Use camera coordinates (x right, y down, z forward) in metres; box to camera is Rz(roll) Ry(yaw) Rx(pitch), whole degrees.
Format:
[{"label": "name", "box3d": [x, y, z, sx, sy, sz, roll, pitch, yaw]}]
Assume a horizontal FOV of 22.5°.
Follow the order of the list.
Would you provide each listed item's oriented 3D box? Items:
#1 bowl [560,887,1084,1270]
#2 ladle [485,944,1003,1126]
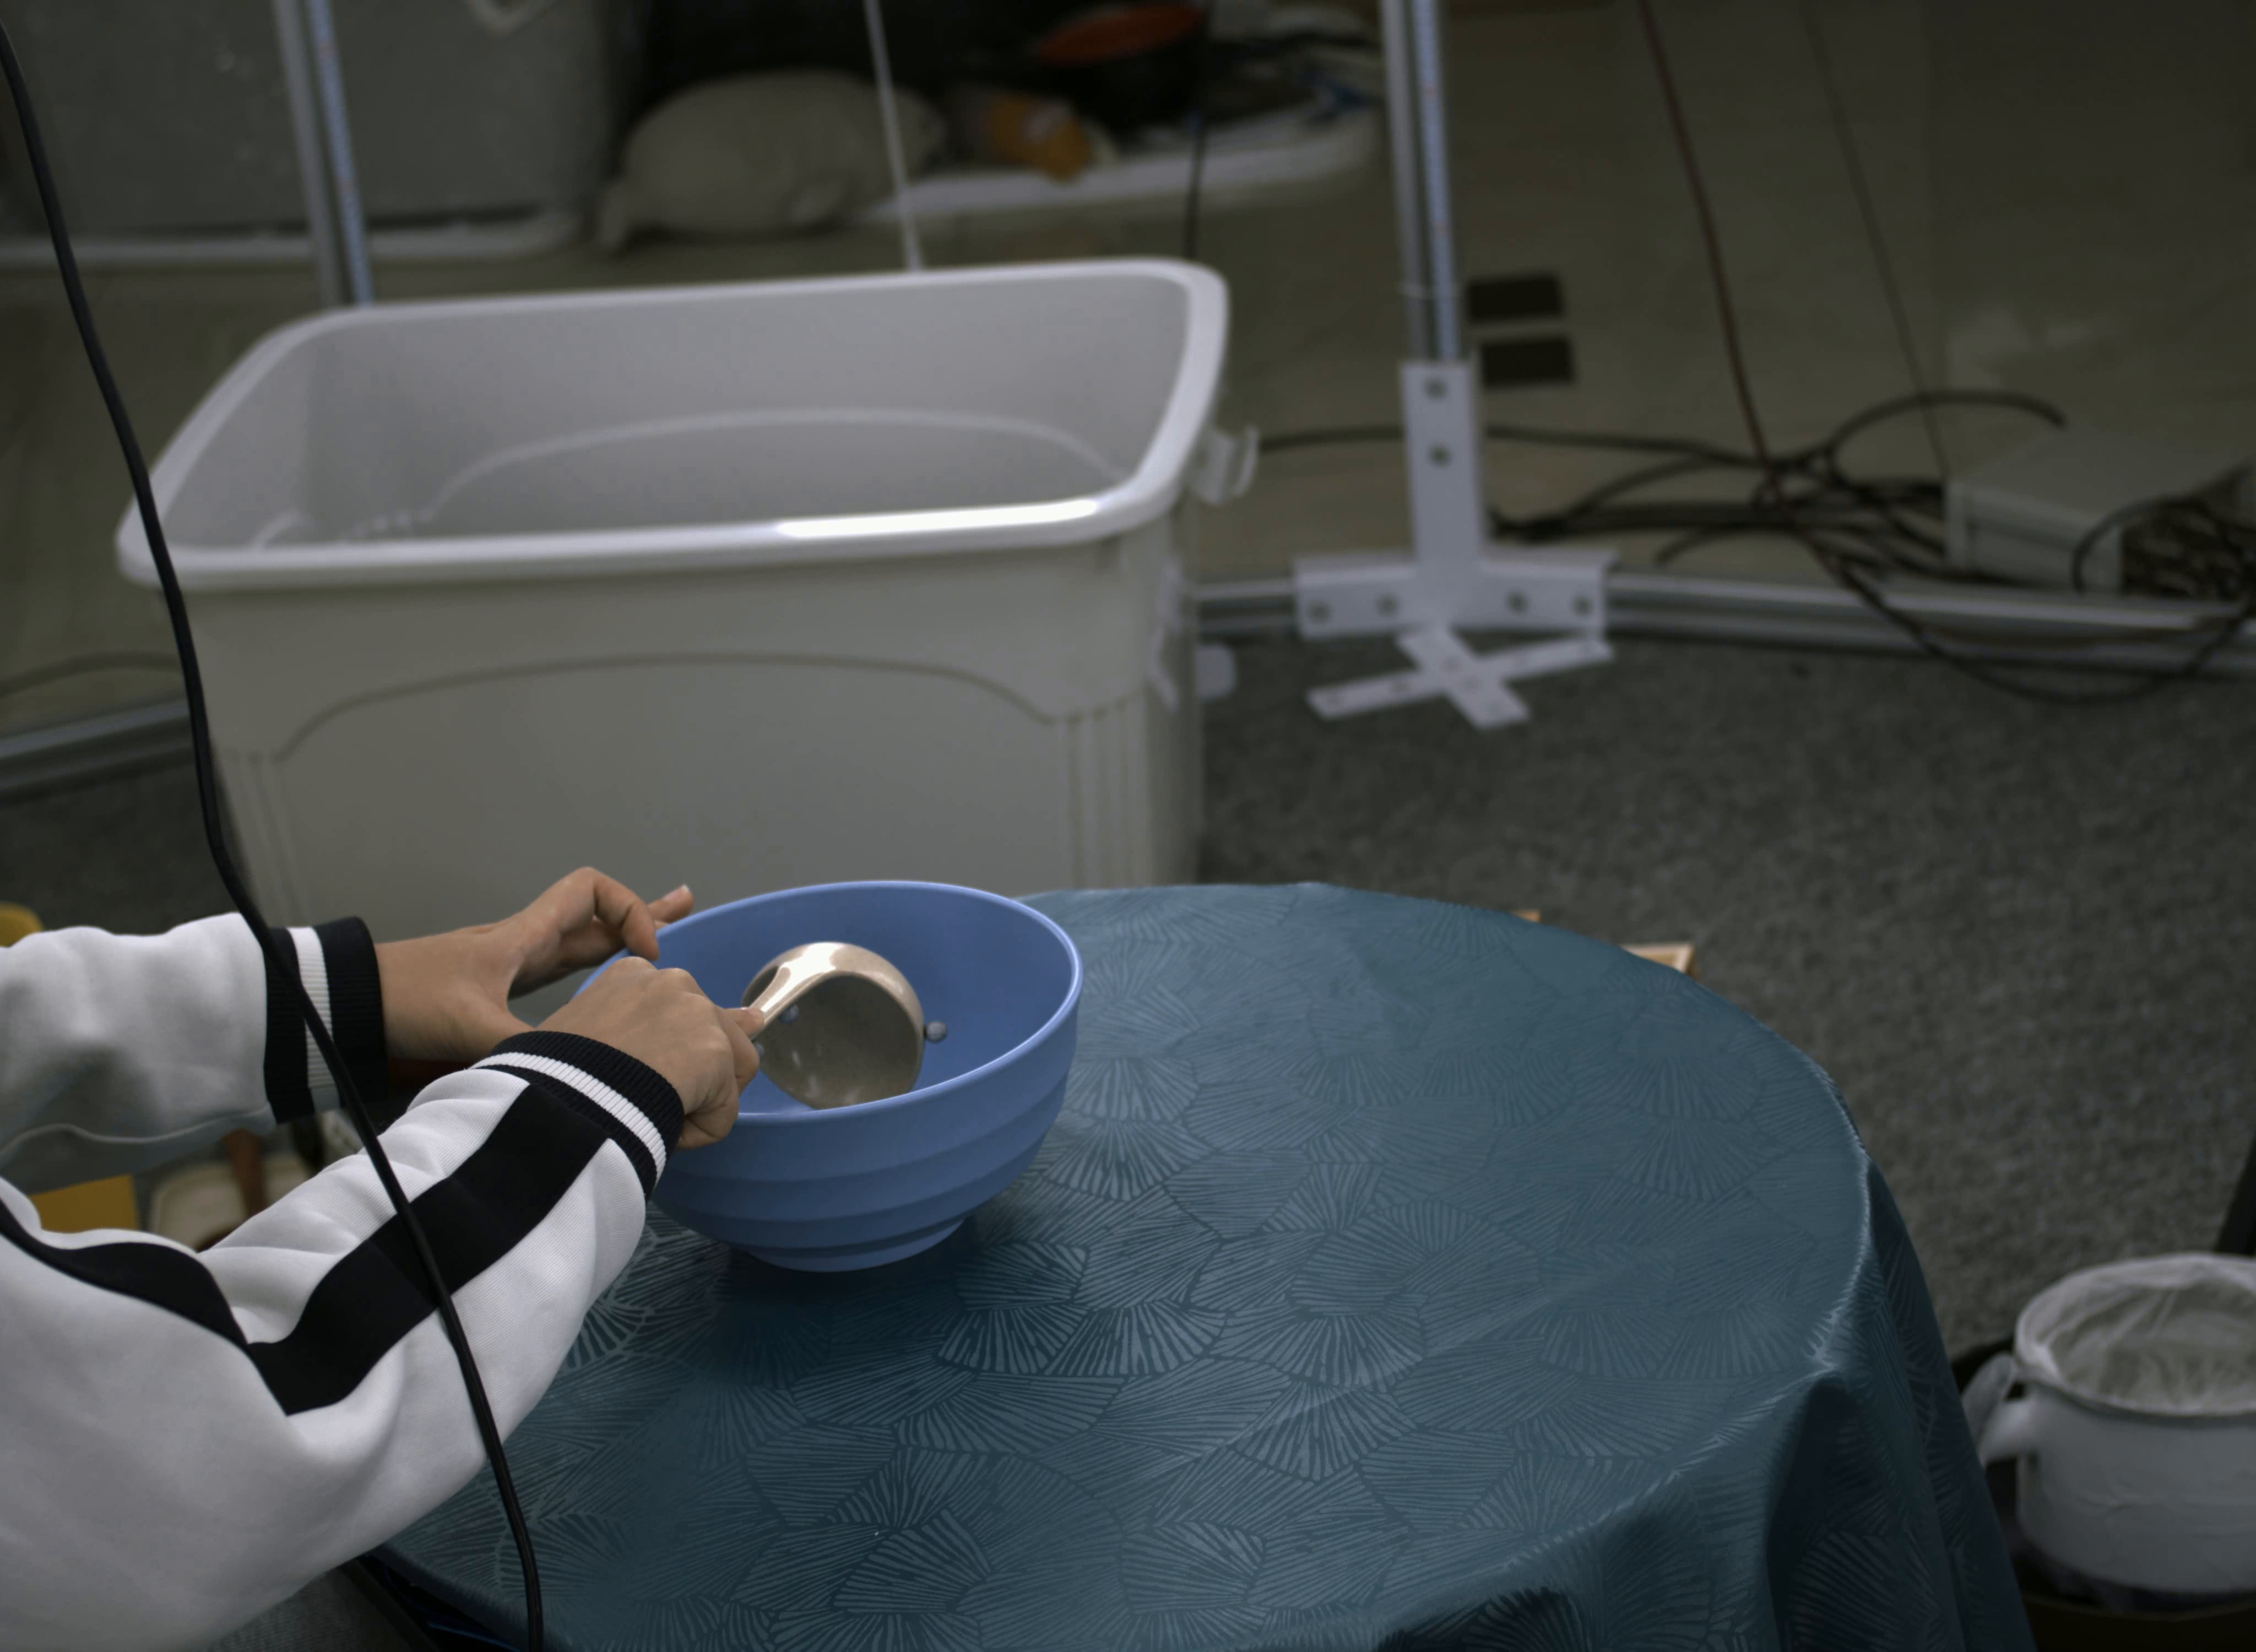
[{"label": "bowl", "box3d": [-0.111, 0.105, 2.134, 0.196, 0.097, 0.194, -4, 23, 2]}, {"label": "ladle", "box3d": [-0.132, 0.099, 2.036, 0.072, 0.073, 0.253, 51, 31, 11]}]
